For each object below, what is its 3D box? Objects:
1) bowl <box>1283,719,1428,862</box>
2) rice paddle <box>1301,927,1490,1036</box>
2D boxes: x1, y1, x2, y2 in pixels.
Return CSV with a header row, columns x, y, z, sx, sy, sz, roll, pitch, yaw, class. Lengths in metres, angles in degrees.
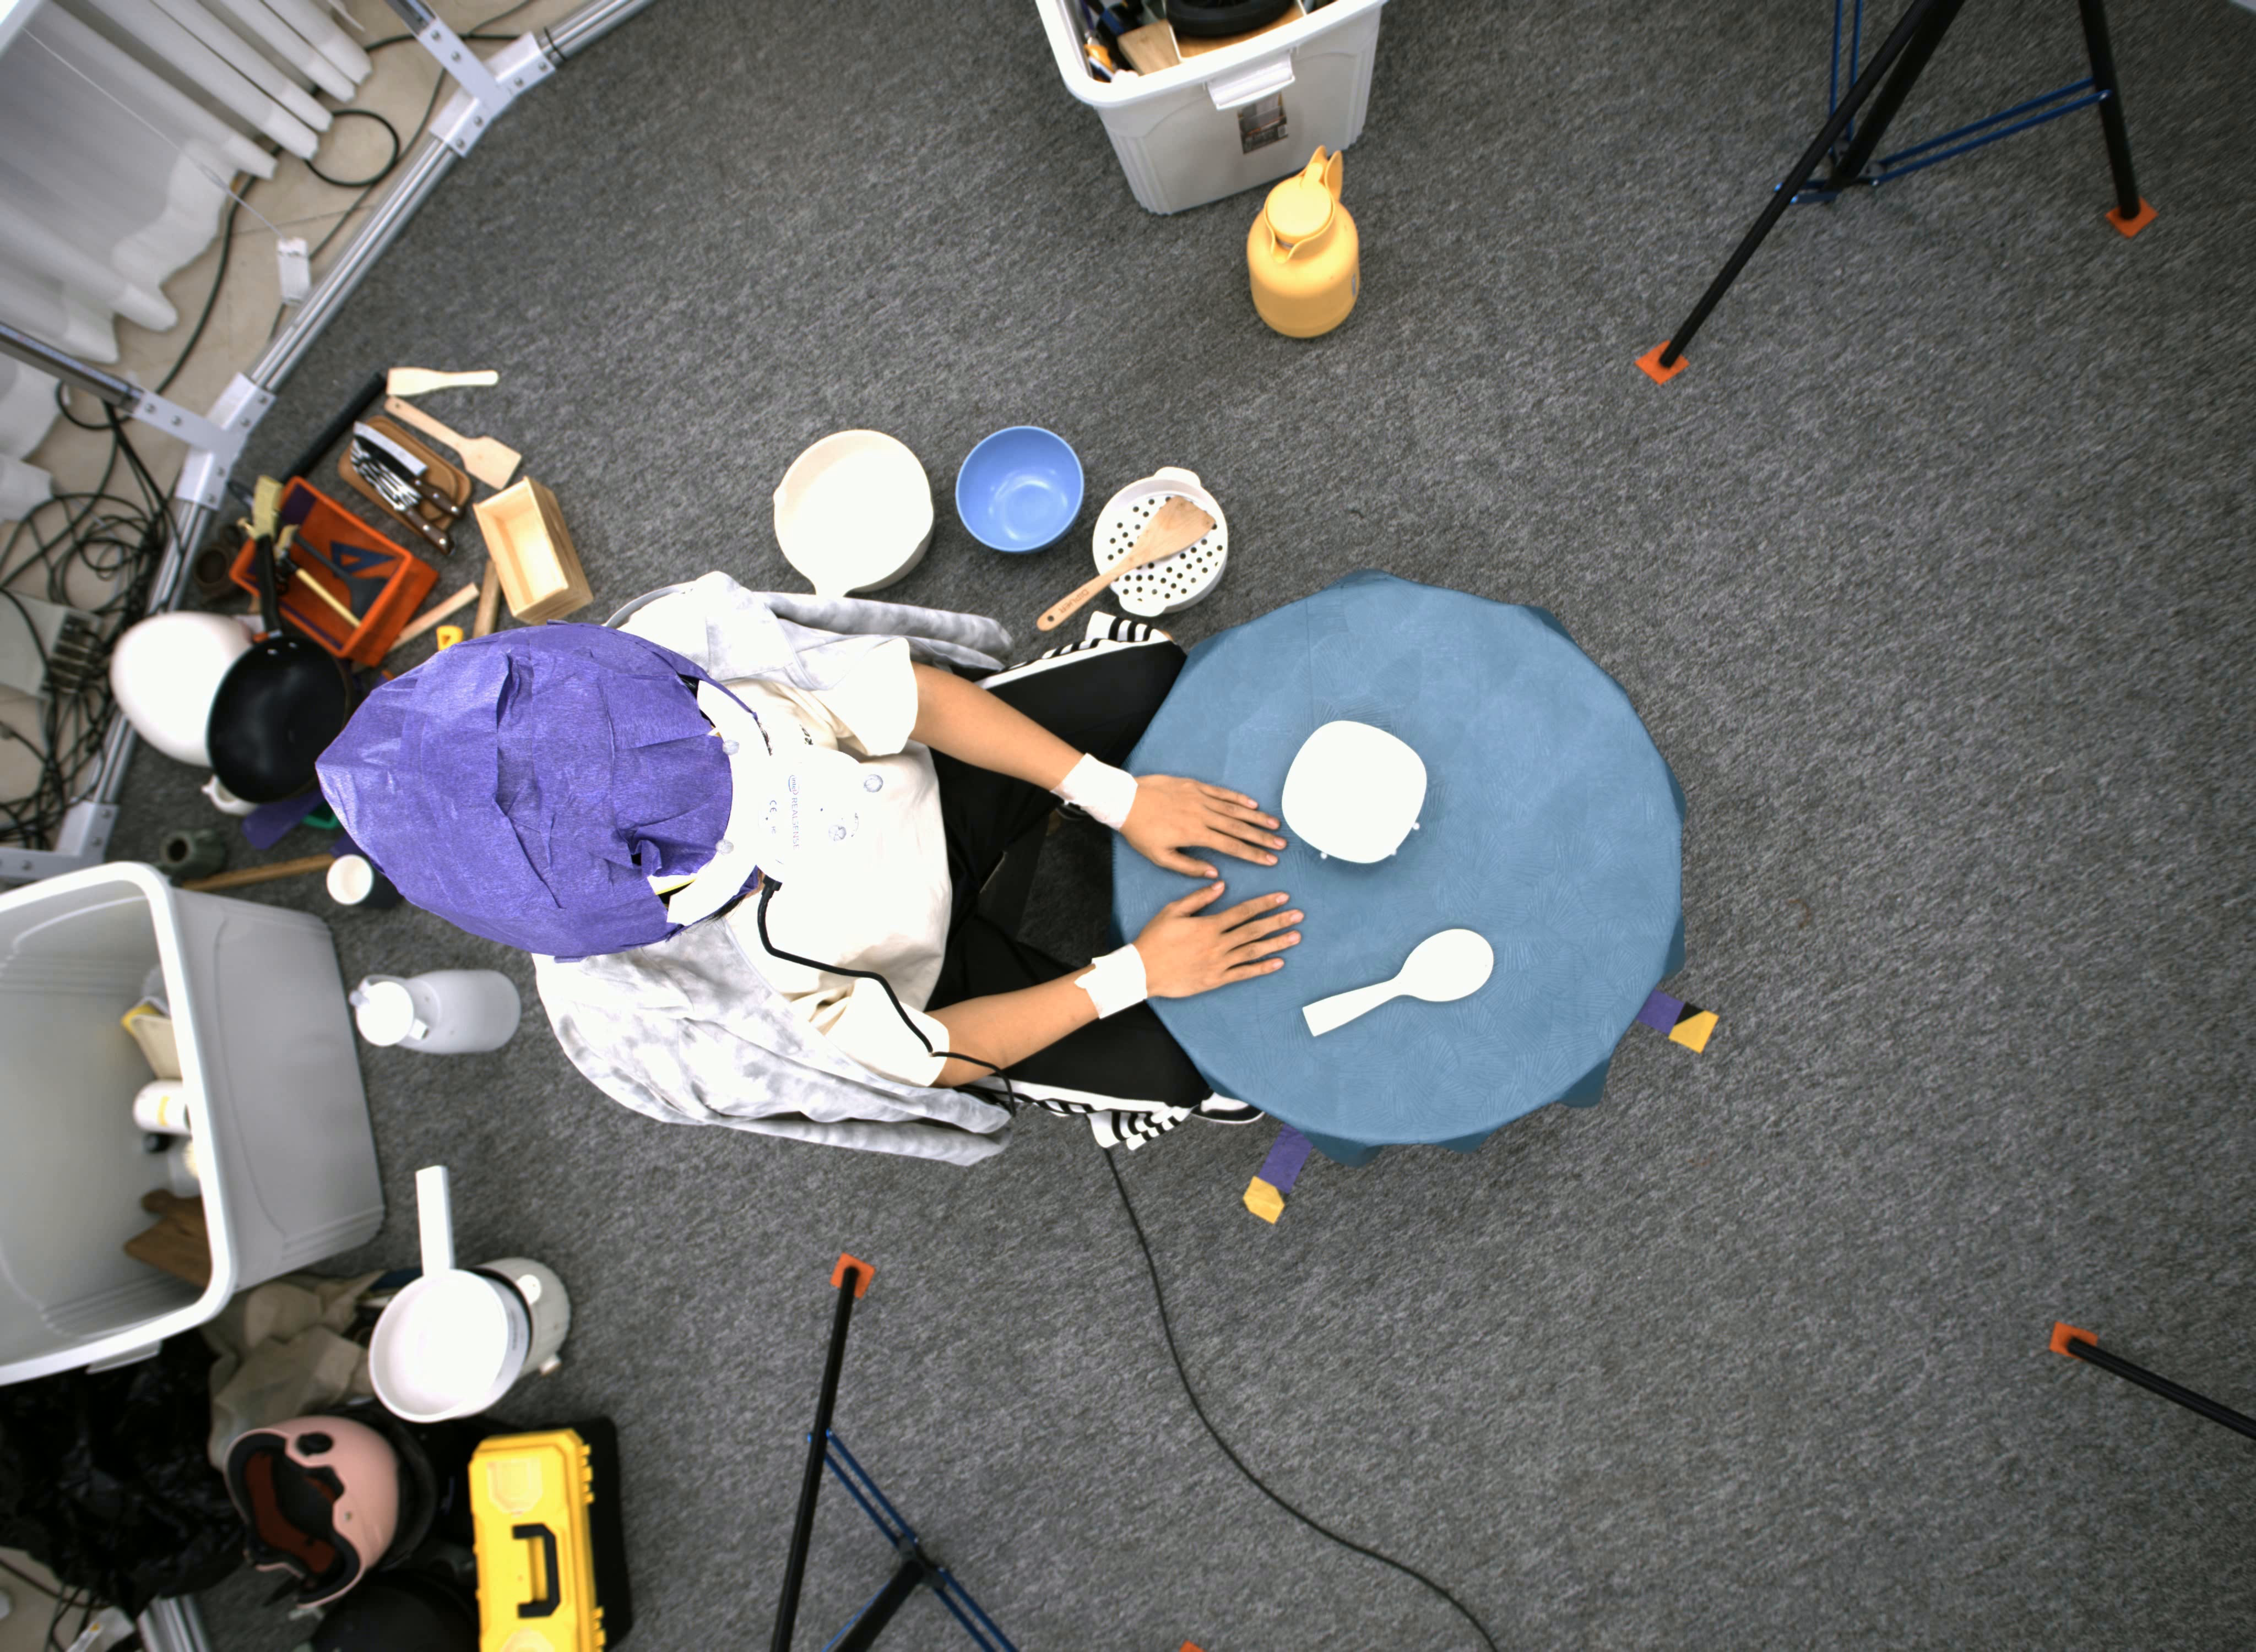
x,y,z,sx,sy,sz,roll,pitch,yaw,class
0.237,-0.037,1.440,0.152,0.058,0.151,0,90,9,bowl
0.279,0.163,1.436,0.206,0.029,0.068,-24,84,9,rice paddle
